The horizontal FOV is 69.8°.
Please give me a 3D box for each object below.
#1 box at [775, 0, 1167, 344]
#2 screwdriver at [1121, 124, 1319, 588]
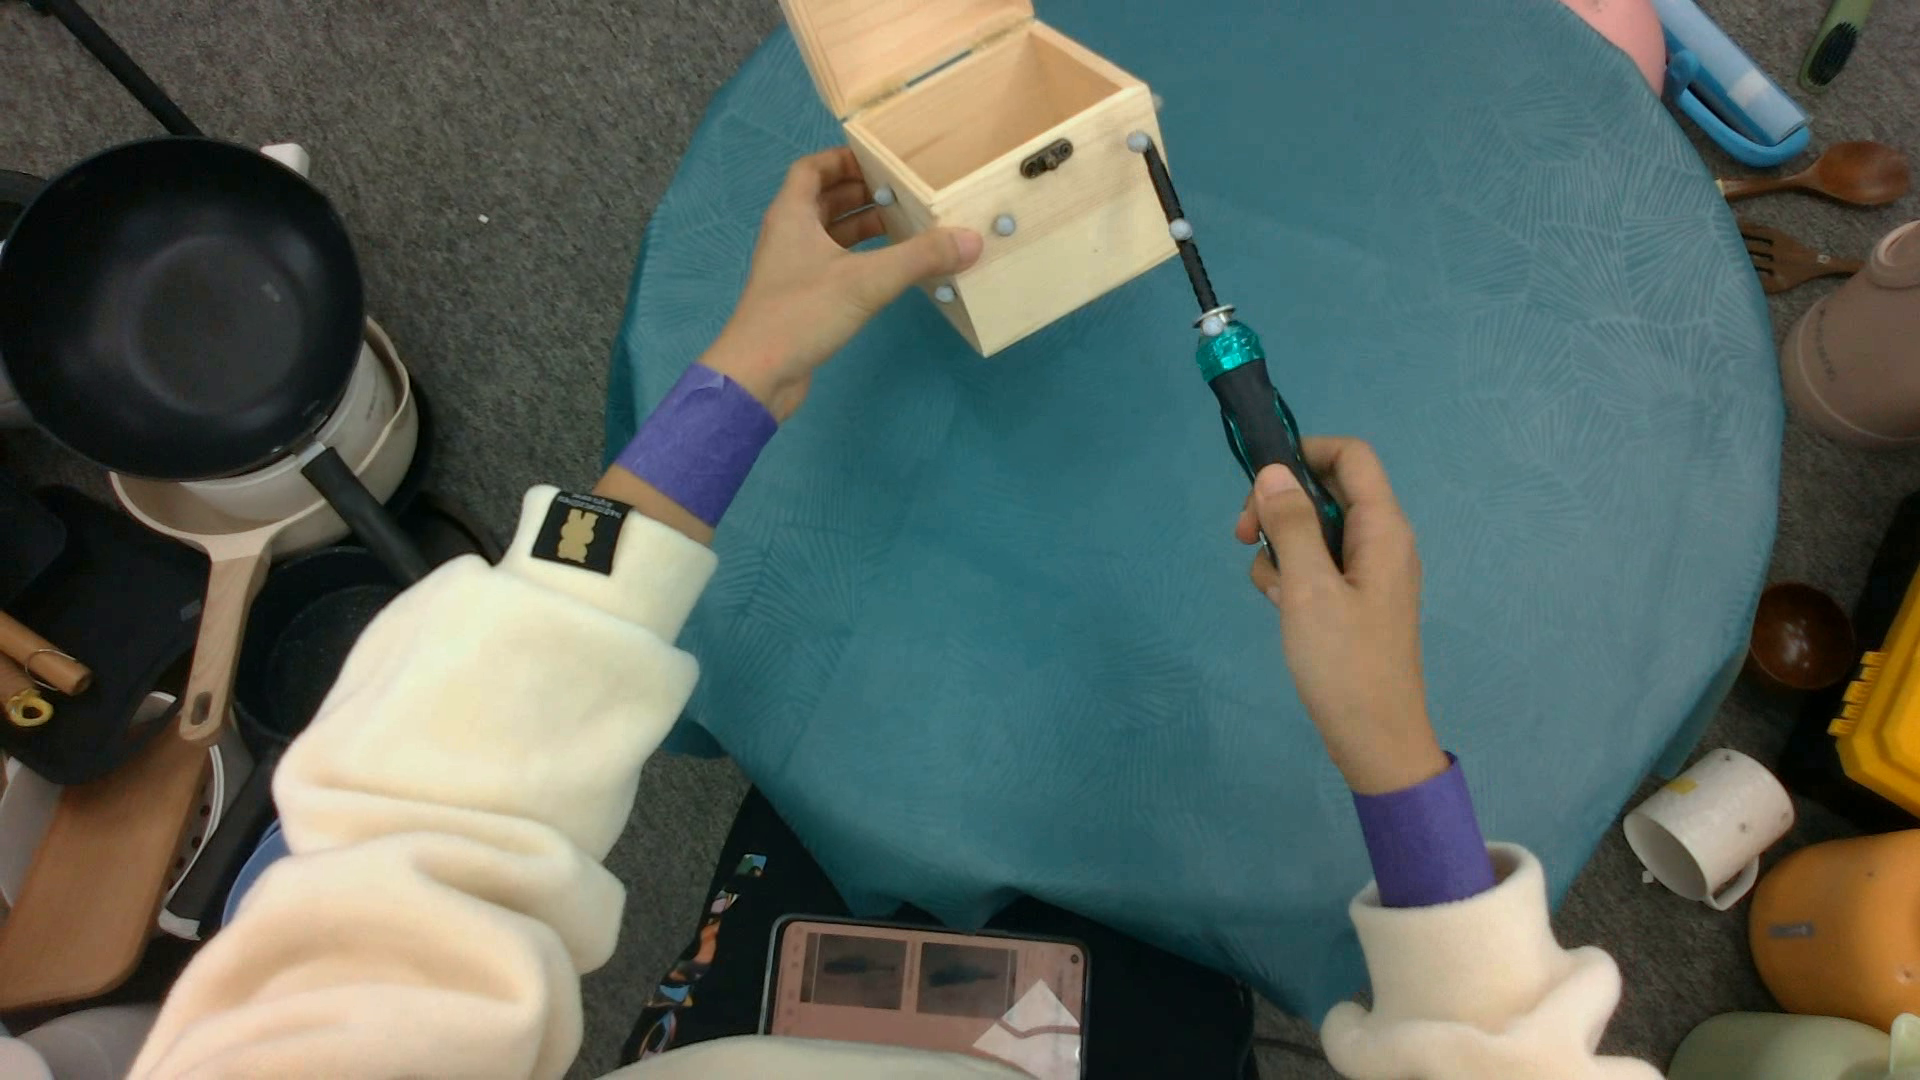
[{"bbox_3d":[-0.003,-0.200,0.575,0.103,0.184,0.134,-28,39,-7],"label":"box"},{"bbox_3d":[0.097,-0.074,0.532,0.034,0.033,0.190,-17,84,-6],"label":"screwdriver"}]
